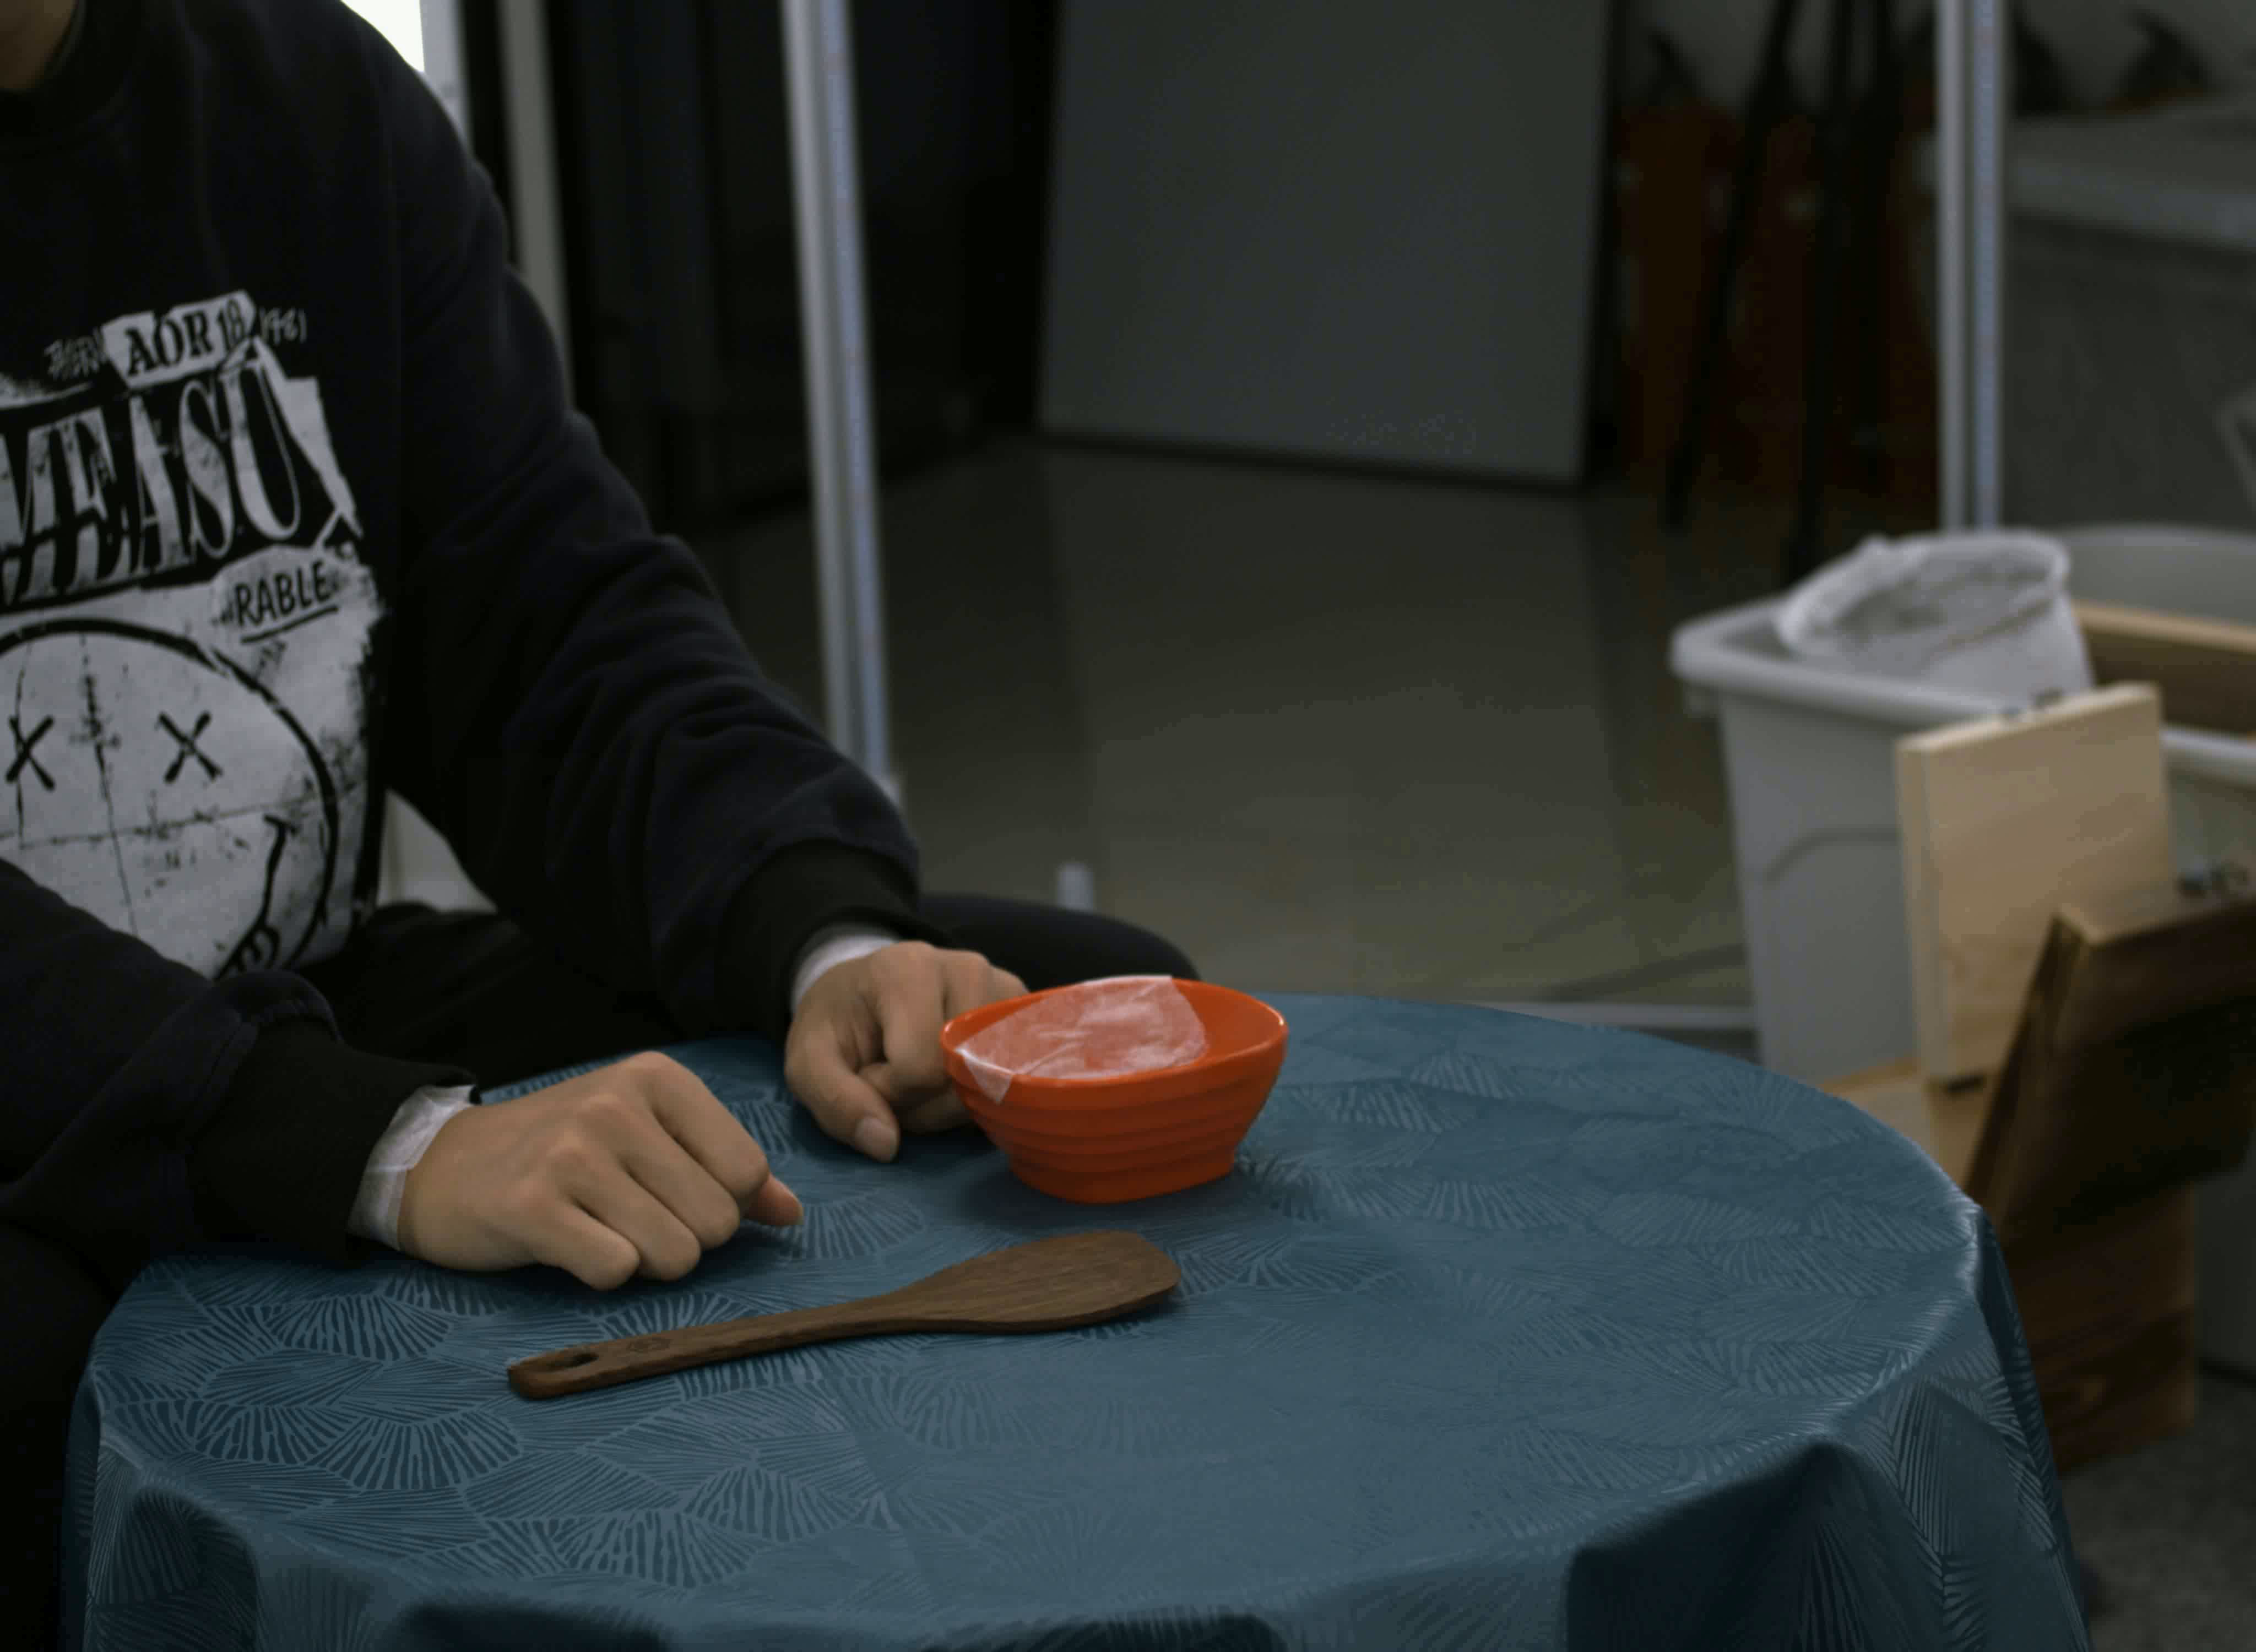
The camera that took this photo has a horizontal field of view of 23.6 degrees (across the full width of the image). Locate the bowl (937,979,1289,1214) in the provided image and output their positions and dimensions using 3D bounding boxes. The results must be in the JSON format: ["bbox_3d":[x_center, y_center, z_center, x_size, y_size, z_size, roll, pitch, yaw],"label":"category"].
[{"bbox_3d":[-0.004,0.092,1.788,0.117,0.052,0.119,-4,15,0],"label":"bowl"}]

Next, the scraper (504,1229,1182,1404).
[{"bbox_3d":[-0.087,0.153,1.652,0.207,0.011,0.076,-9,14,-17],"label":"scraper"}]
